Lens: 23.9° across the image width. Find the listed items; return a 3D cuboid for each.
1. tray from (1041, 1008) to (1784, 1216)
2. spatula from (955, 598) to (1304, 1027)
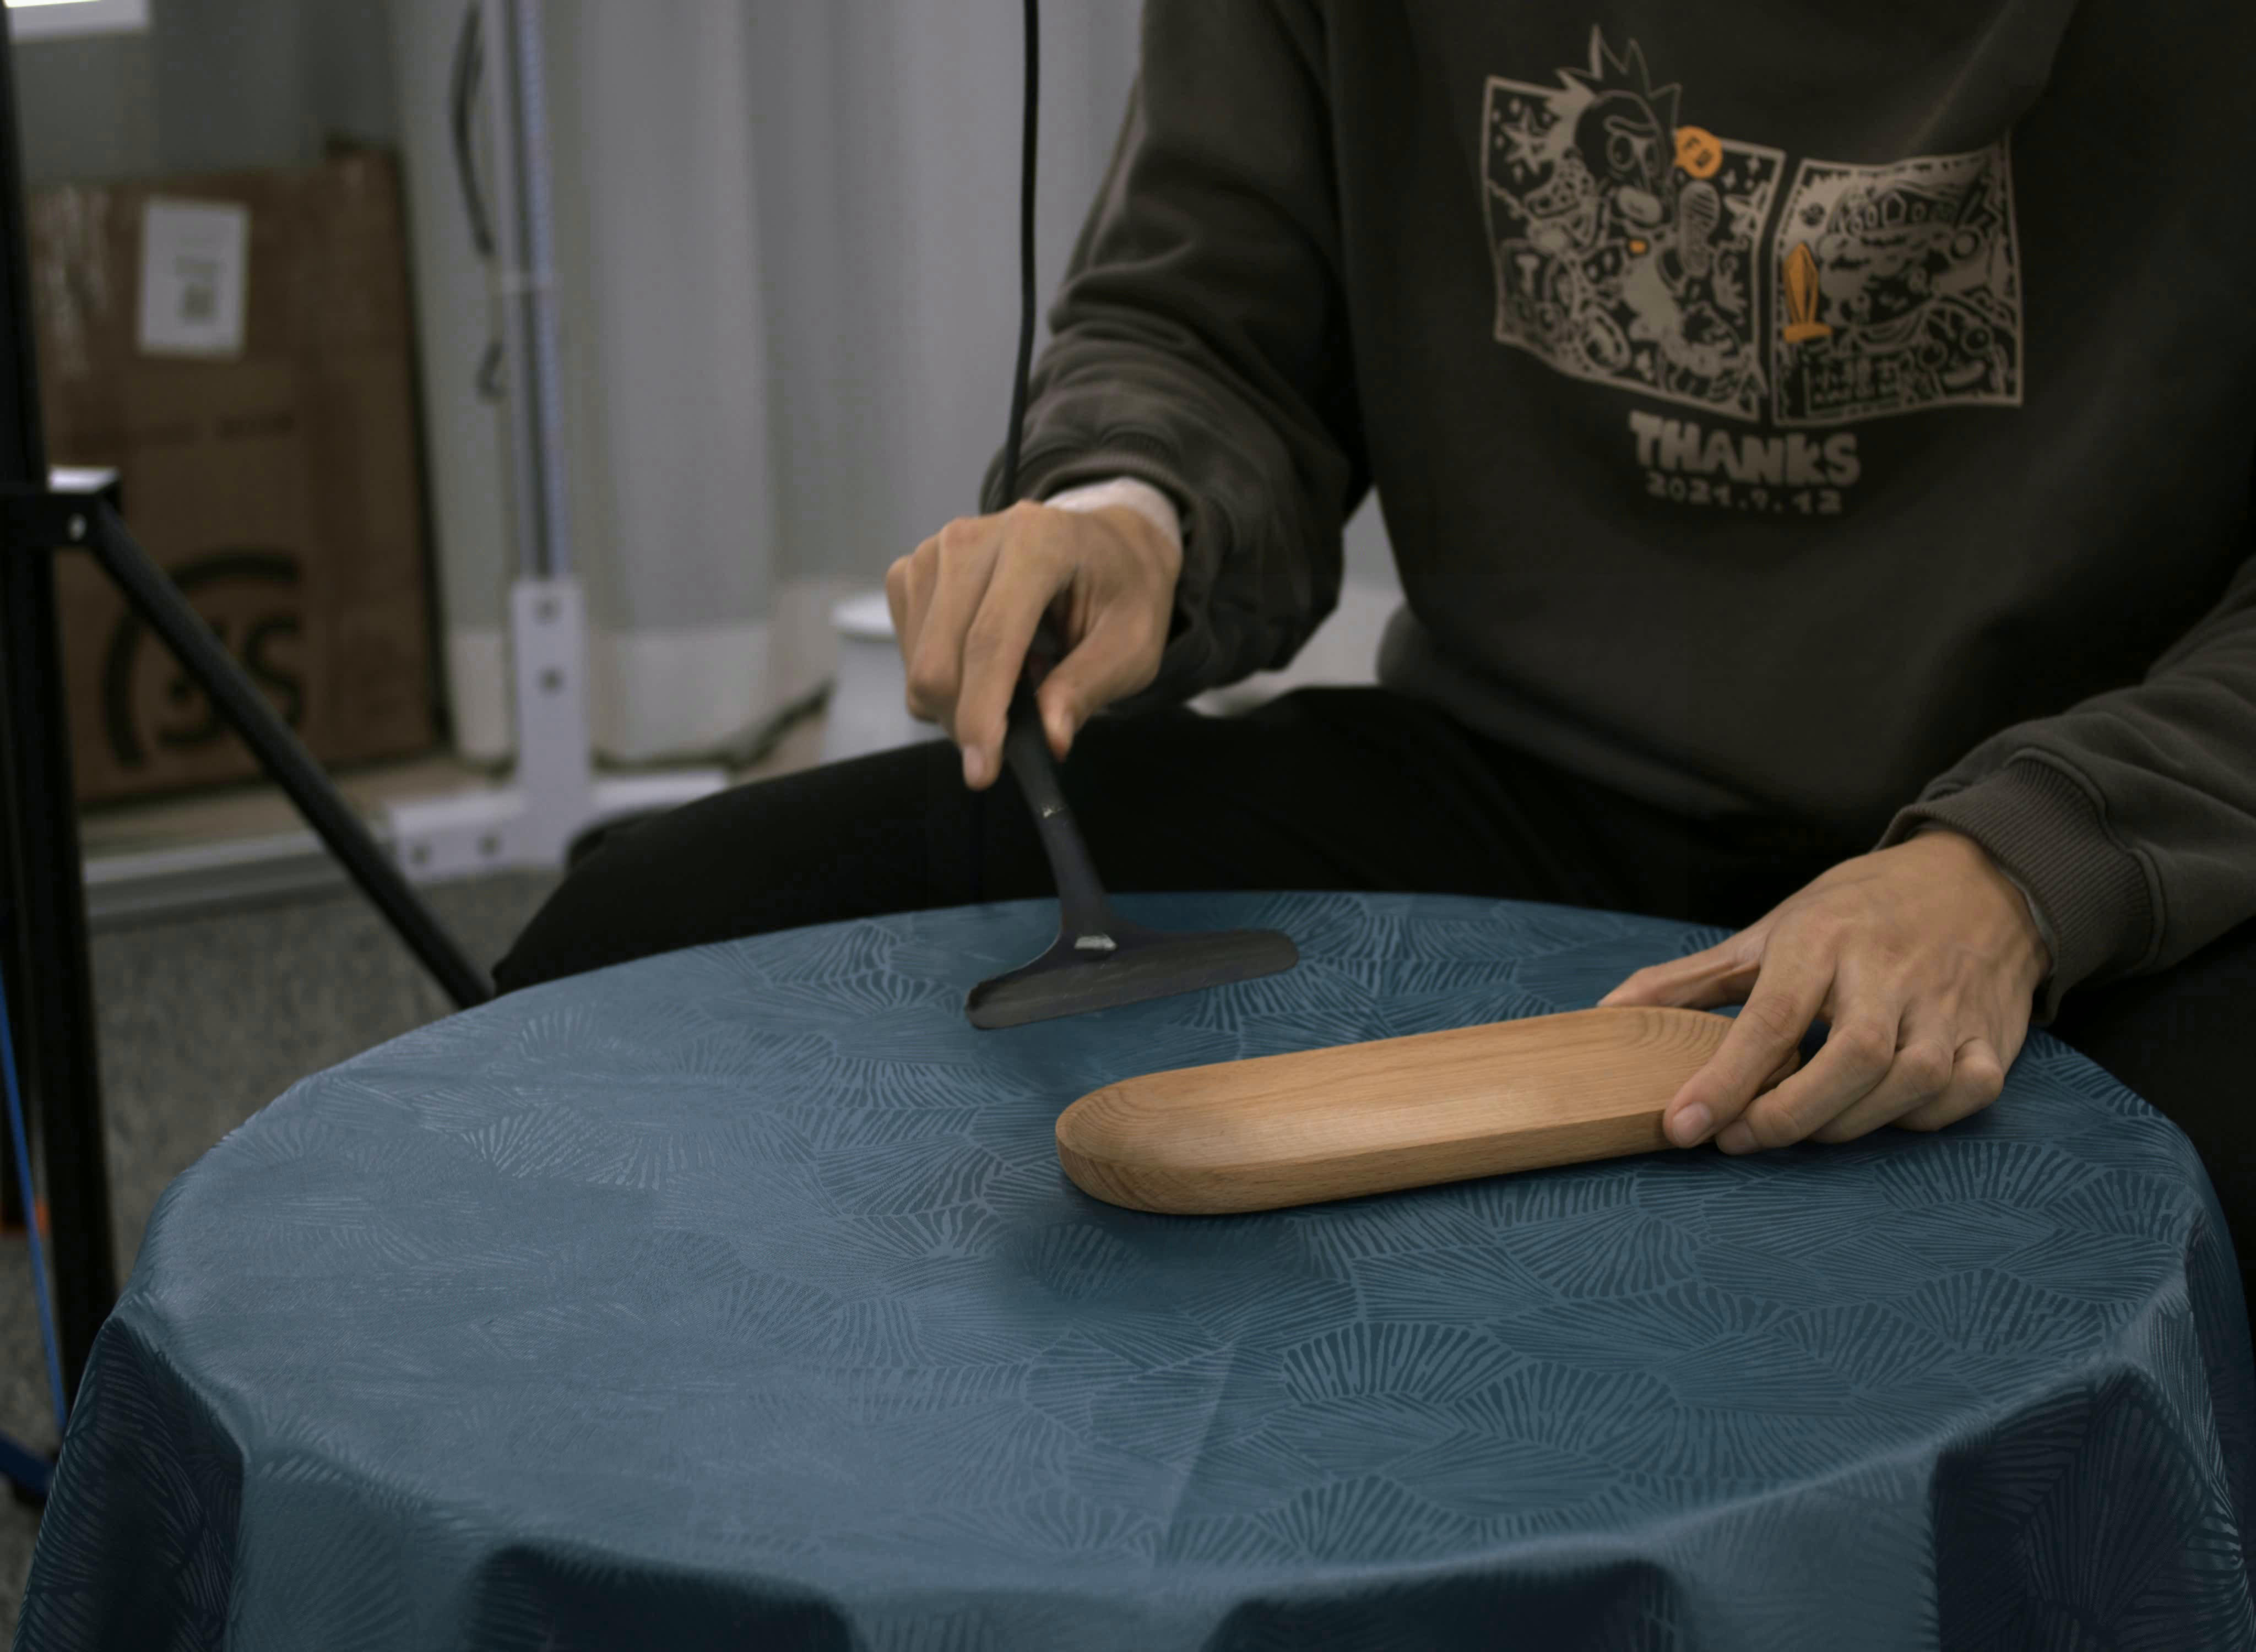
[{"bbox_3d":[0.087,0.086,1.594,0.228,0.020,0.103,-8,16,-14],"label":"tray"},{"bbox_3d":[-0.023,-0.011,1.650,0.099,0.040,0.331,-11,29,-6],"label":"spatula"}]
